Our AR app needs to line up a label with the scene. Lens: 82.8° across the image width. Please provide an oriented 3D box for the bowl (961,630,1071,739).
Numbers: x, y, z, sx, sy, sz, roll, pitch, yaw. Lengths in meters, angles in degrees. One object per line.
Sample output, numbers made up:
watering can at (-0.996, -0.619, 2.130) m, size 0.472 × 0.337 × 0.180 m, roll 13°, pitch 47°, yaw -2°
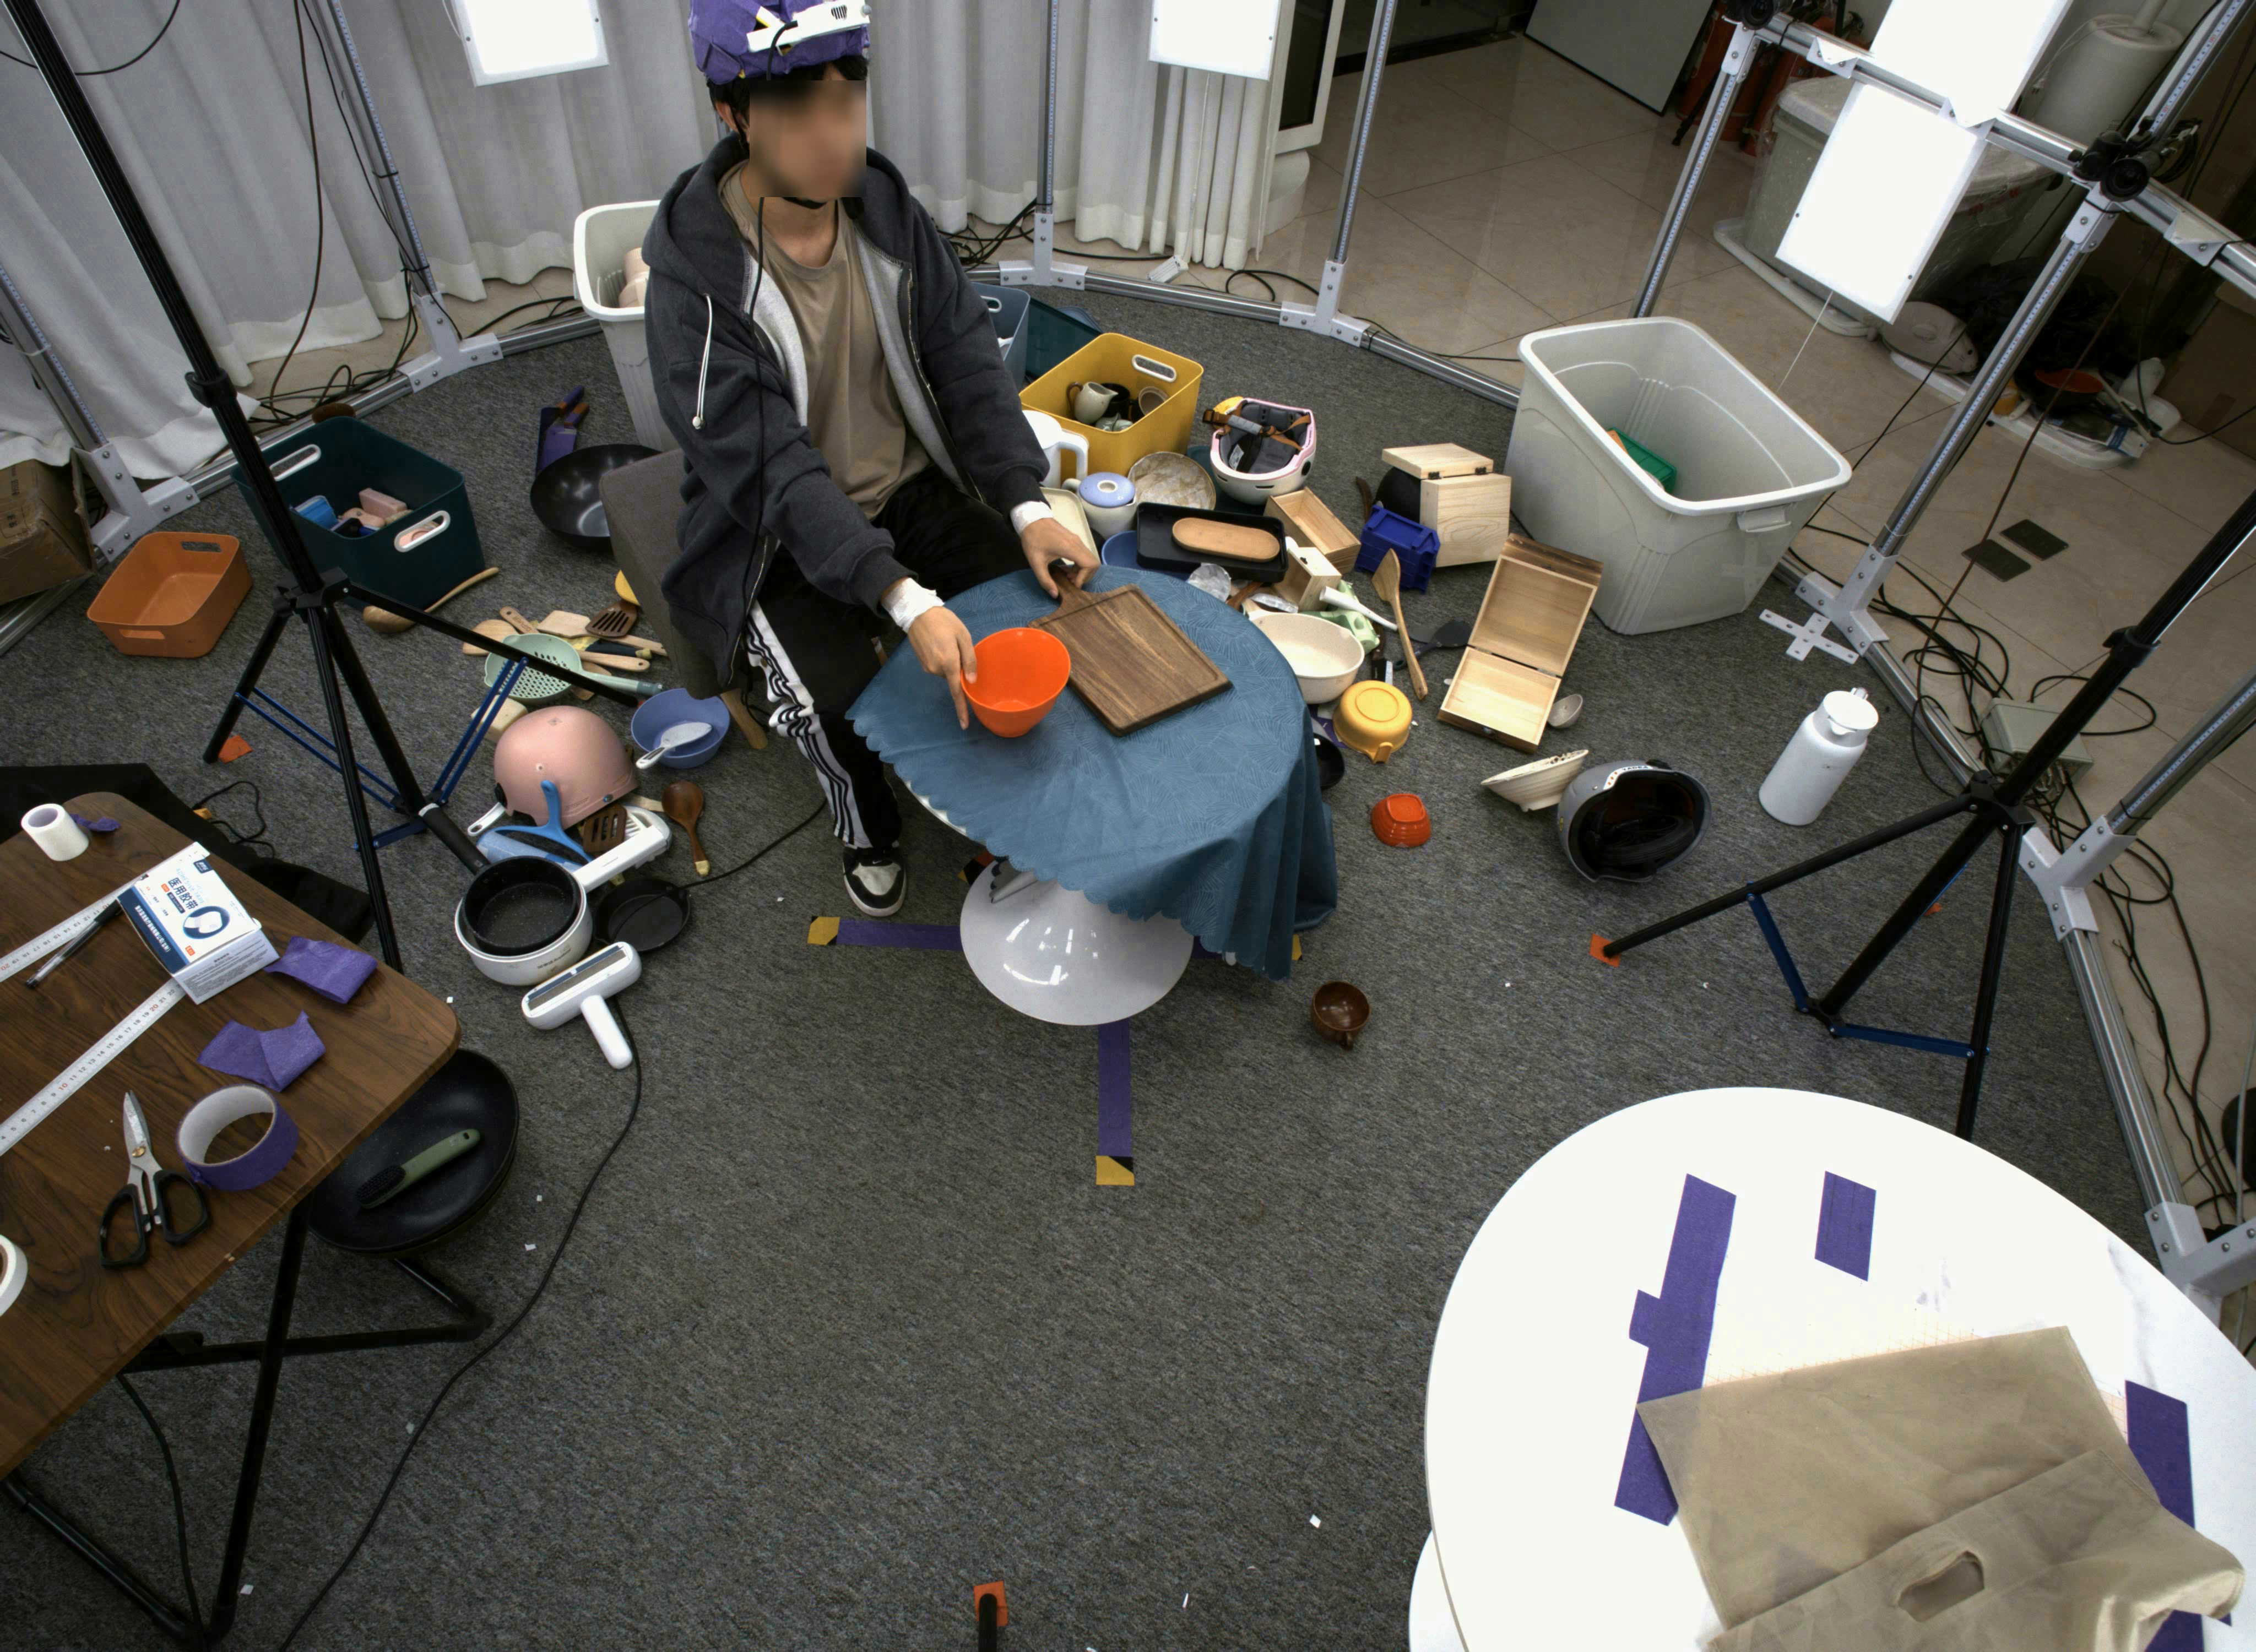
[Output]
bowl at (-0.151, -0.183, 1.749) m, size 0.148 × 0.102 × 0.152 m, roll 1°, pitch 47°, yaw -1°

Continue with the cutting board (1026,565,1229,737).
cutting board at (-0.029, -0.280, 1.894) m, size 0.202 × 0.022 × 0.359 m, roll -25°, pitch 55°, yaw -23°
